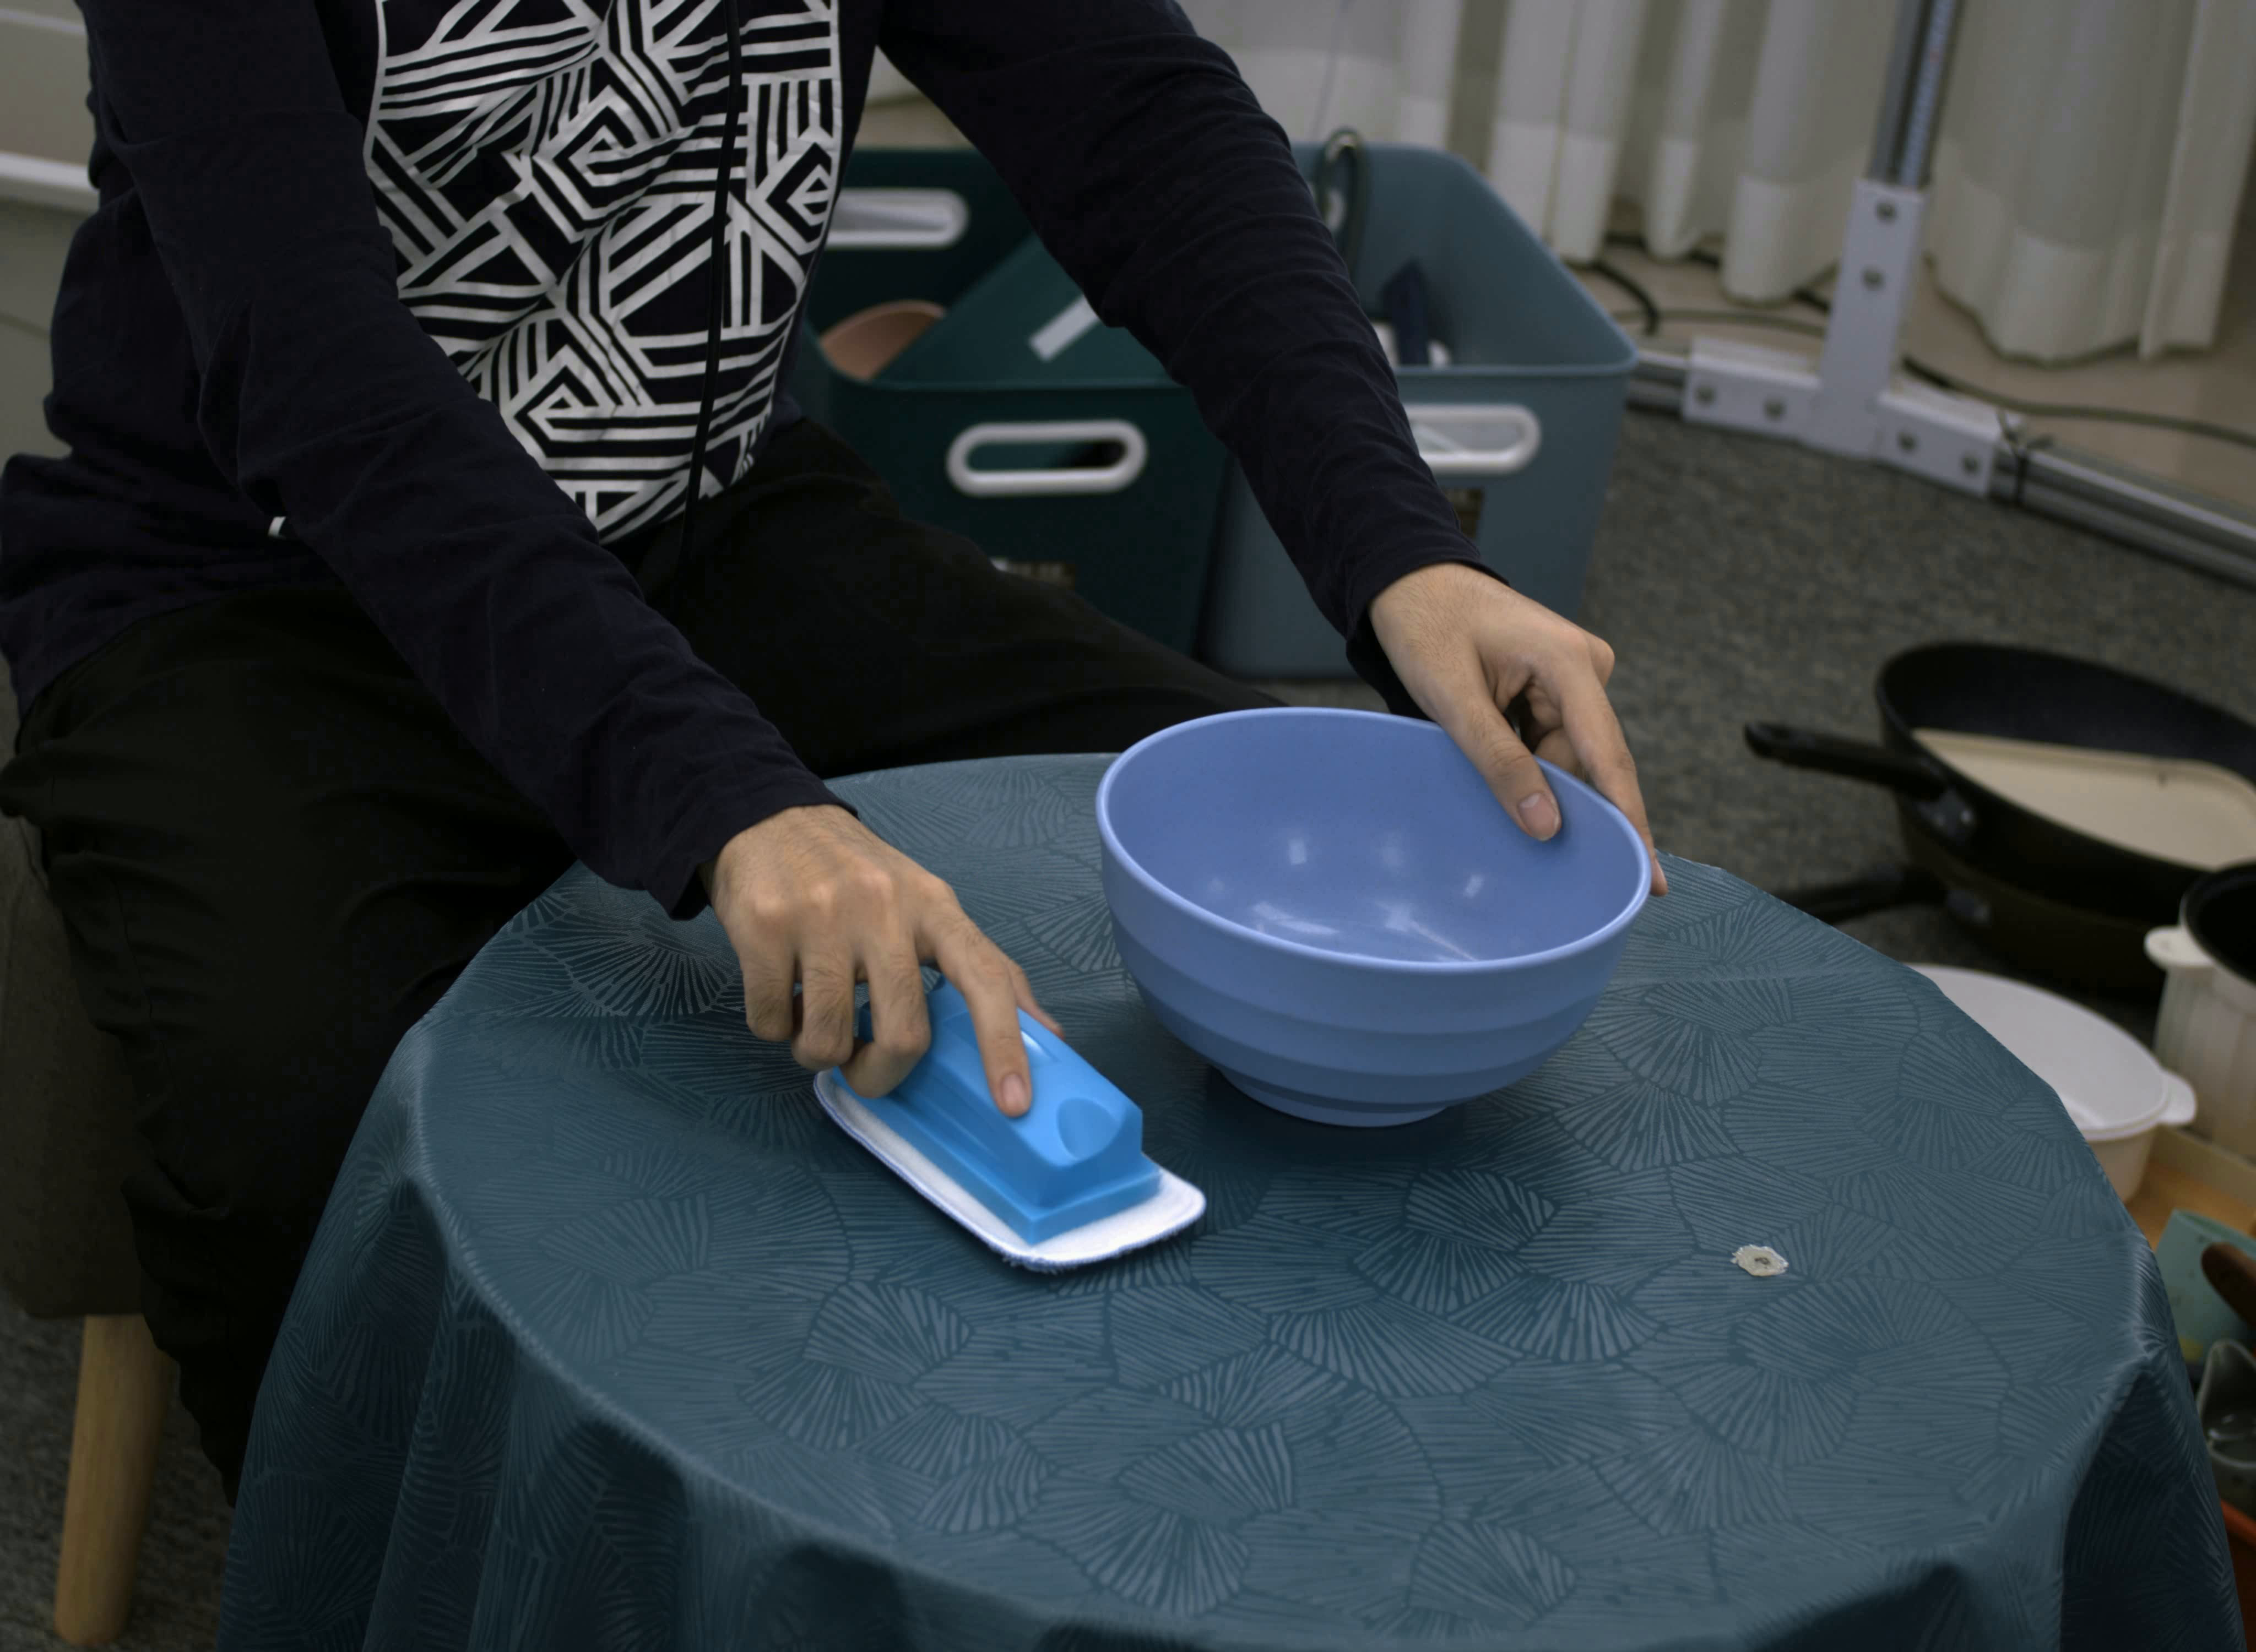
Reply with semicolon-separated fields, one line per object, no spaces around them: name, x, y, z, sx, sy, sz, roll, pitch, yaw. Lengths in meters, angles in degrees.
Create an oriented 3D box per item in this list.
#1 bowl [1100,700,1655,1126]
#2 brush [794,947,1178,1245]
bowl;0.081;0.042;1.880;0.196;0.095;0.198;6;28;-4
brush;-0.047;0.087;1.799;0.083;0.056;0.145;-14;36;-32
